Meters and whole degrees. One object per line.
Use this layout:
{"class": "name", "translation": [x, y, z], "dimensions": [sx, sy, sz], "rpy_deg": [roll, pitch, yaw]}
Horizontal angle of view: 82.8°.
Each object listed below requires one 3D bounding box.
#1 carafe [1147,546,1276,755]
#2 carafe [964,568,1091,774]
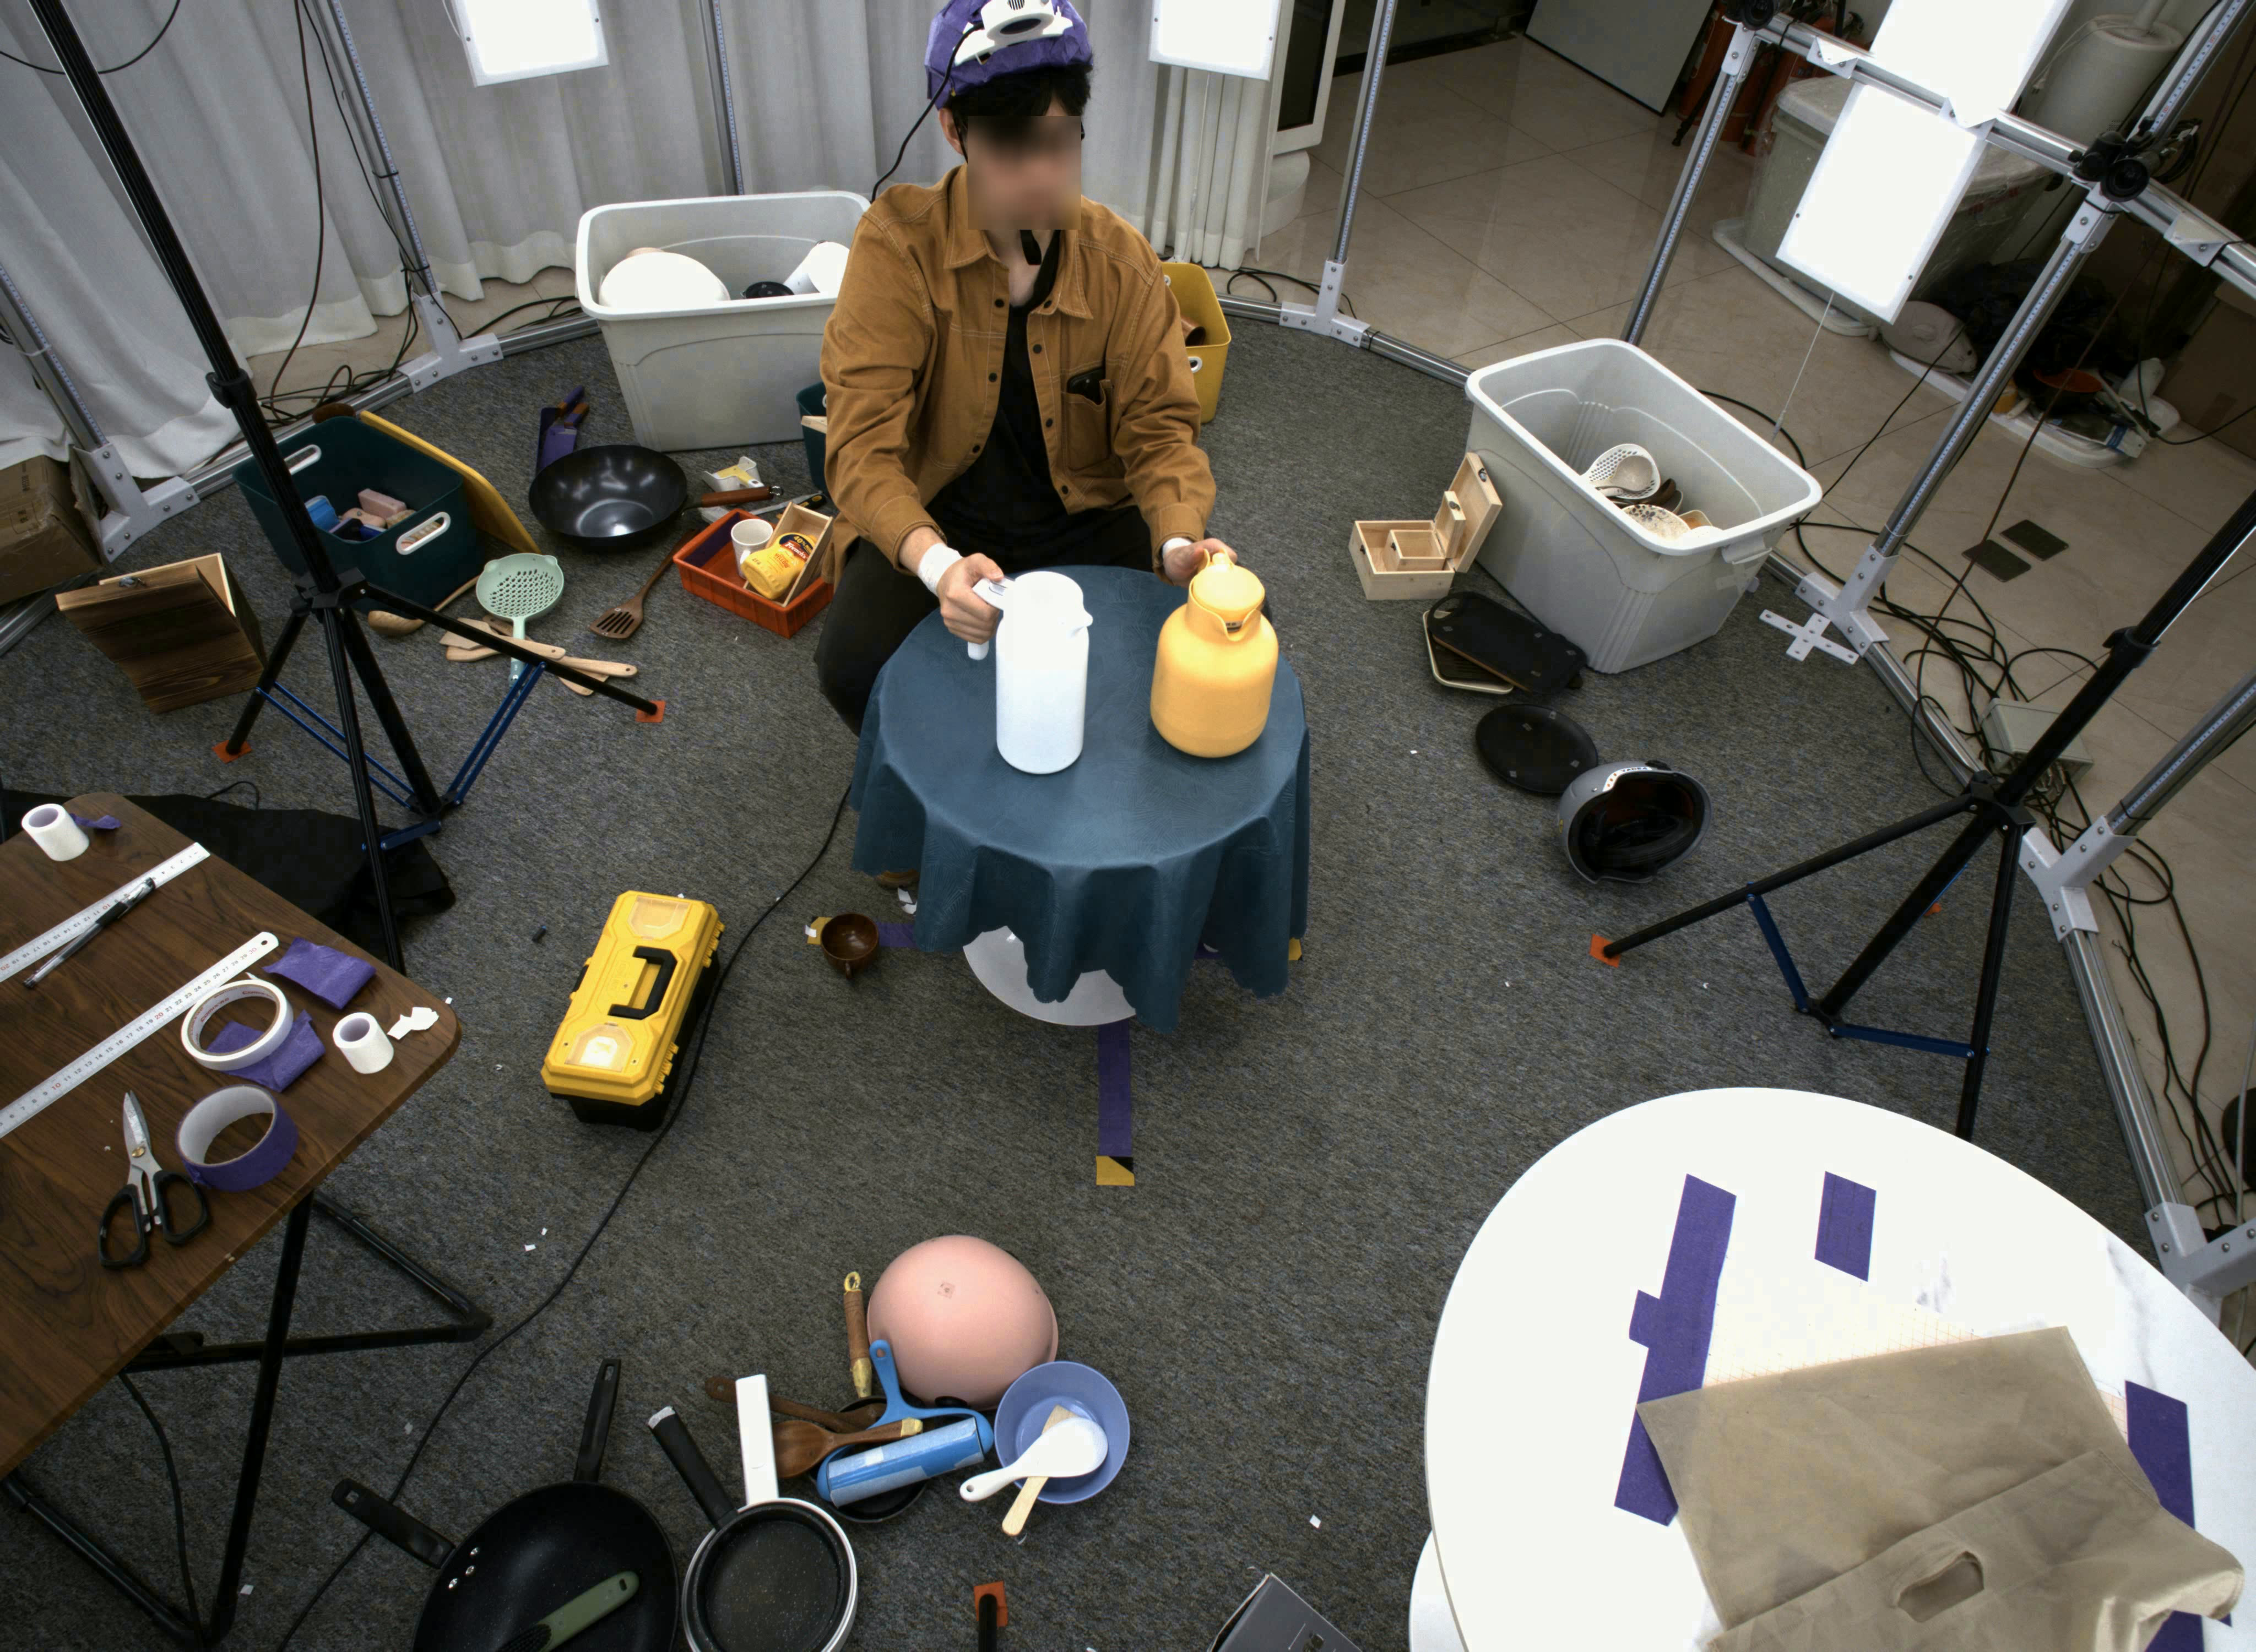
{"class": "carafe", "translation": [0.115, -0.241, 1.715], "dimensions": [0.163, 0.254, 0.207], "rpy_deg": [1, 51, -7]}
{"class": "carafe", "translation": [-0.131, -0.200, 1.662], "dimensions": [0.174, 0.262, 0.126], "rpy_deg": [24, 53, 15]}
